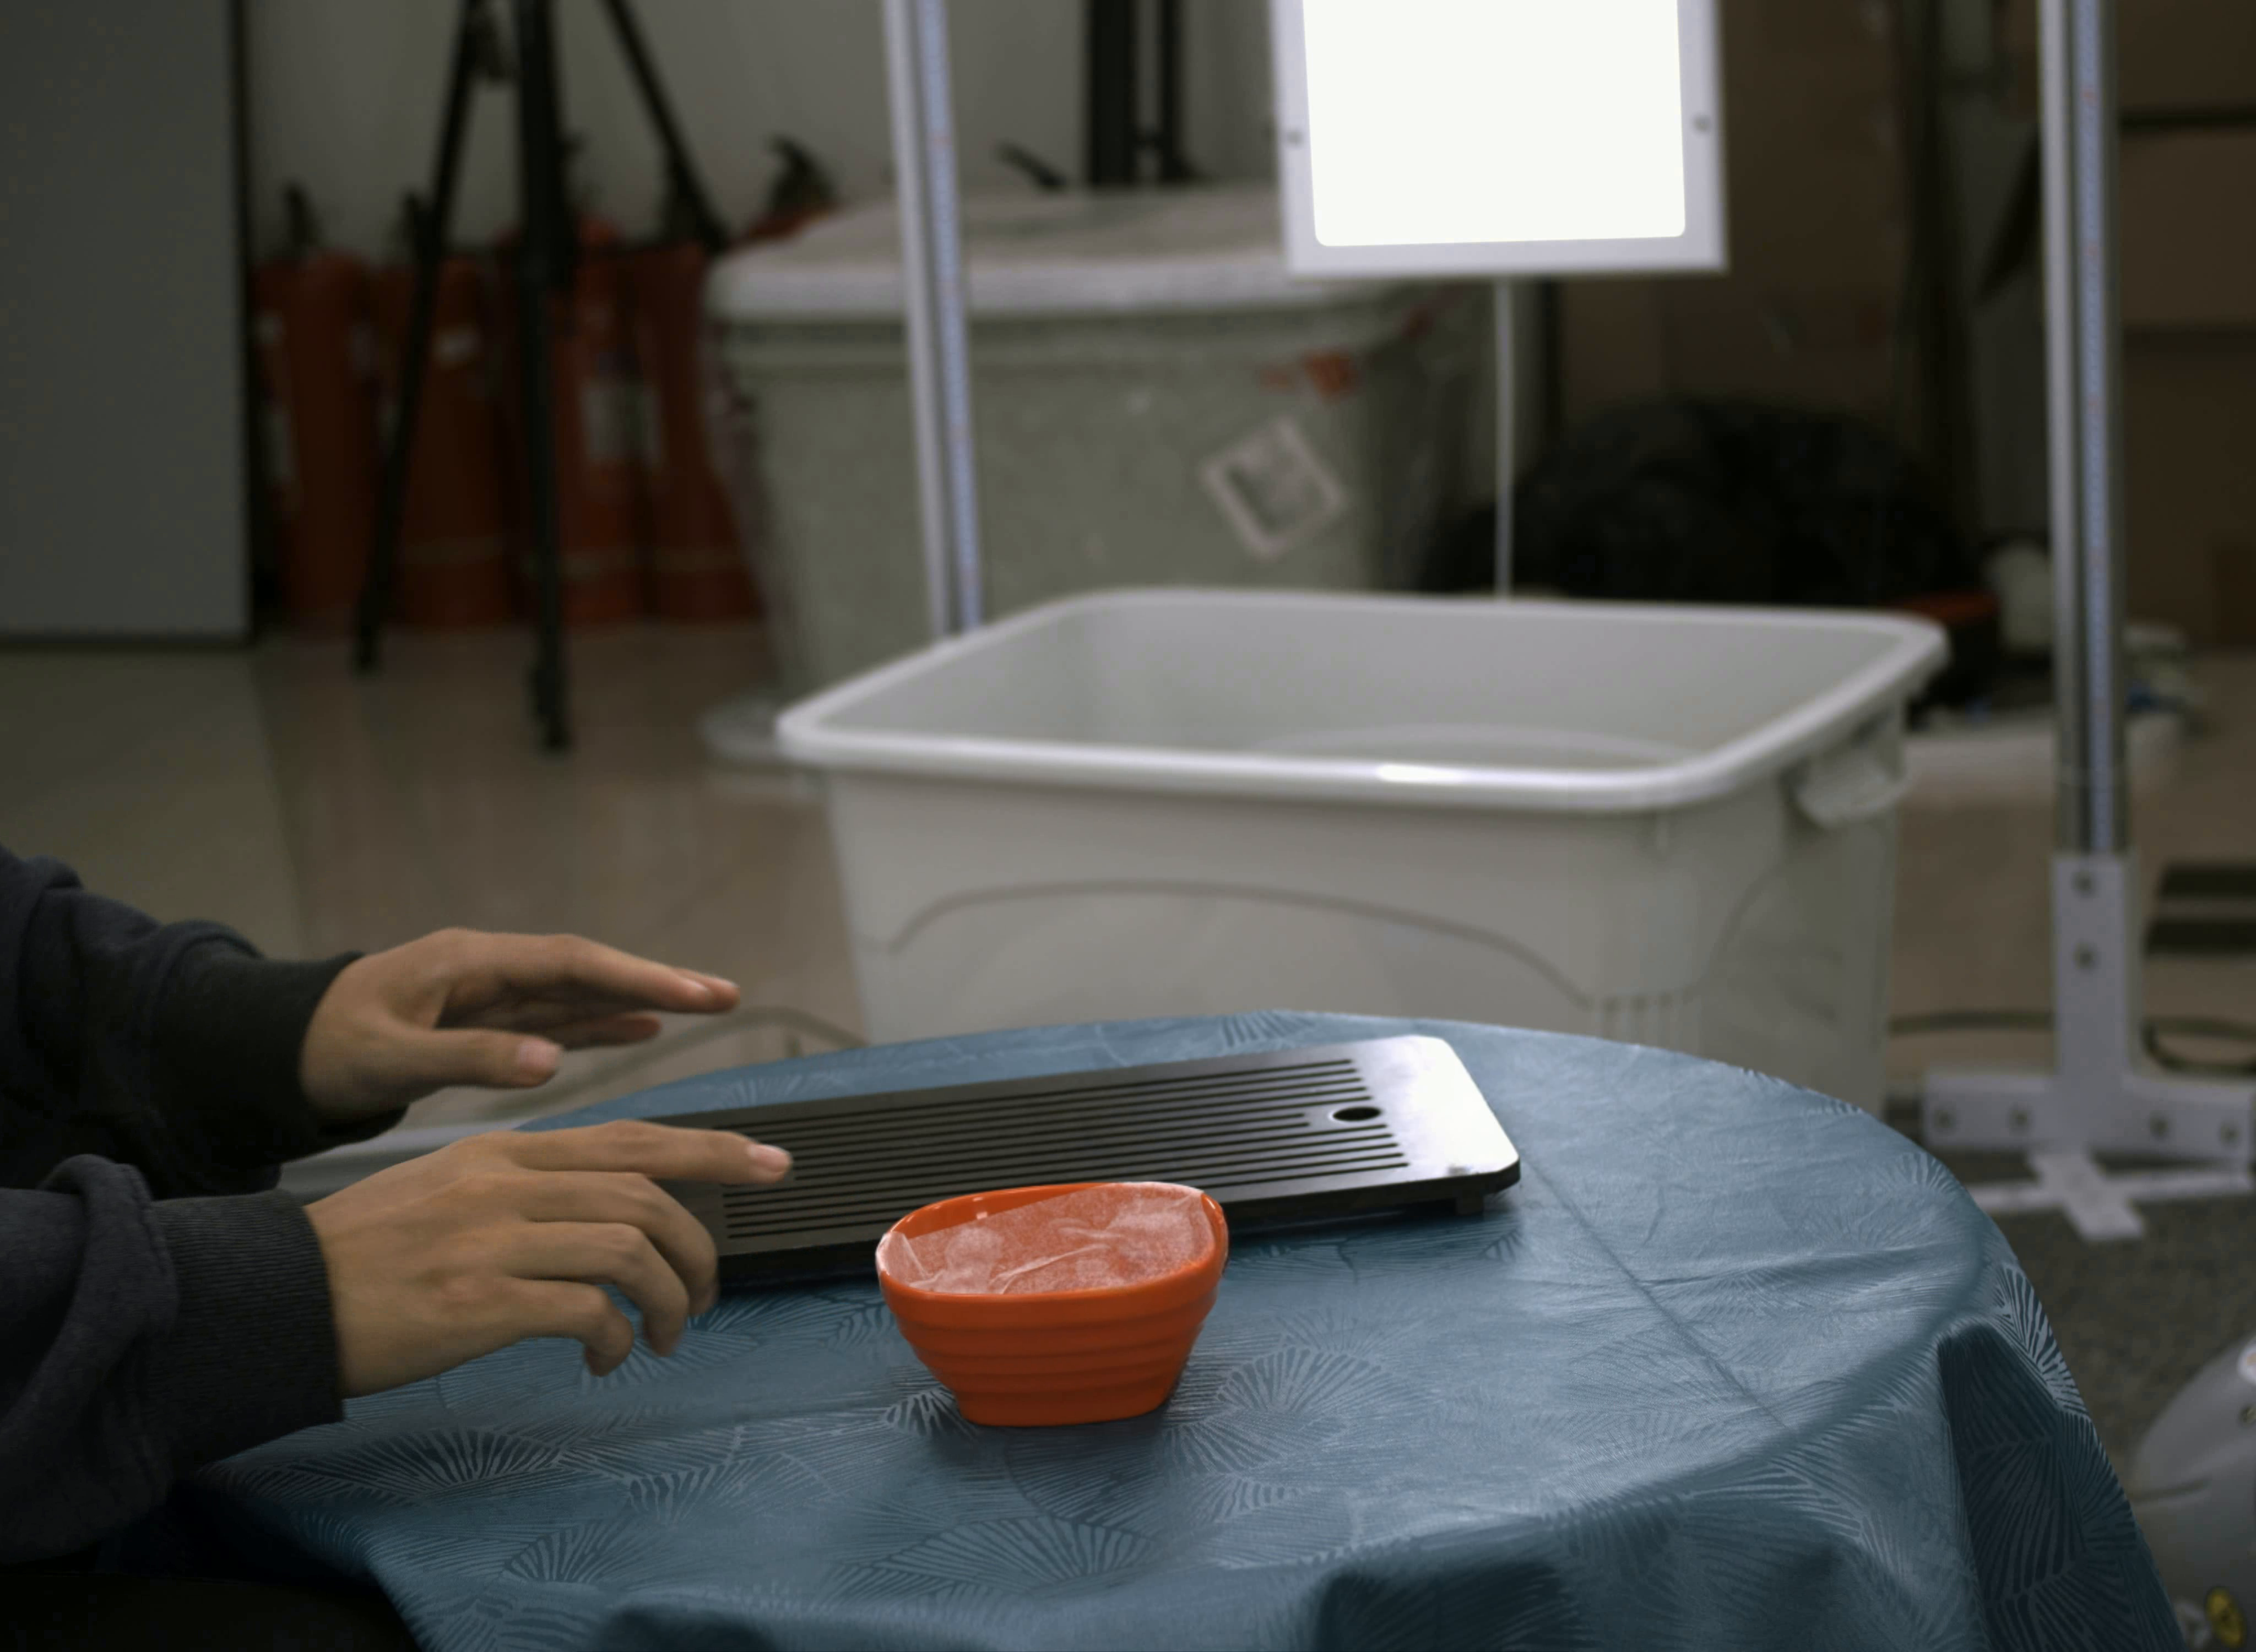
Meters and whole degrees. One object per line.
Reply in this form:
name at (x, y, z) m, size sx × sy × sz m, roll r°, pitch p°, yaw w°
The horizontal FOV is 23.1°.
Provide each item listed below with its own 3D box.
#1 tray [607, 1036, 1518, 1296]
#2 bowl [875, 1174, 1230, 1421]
tray at (-0.027, 0.117, 1.908) m, size 0.304 × 0.019 × 0.170 m, roll -6°, pitch 14°, yaw -3°
bowl at (-0.022, 0.148, 1.701) m, size 0.118 × 0.051 × 0.119 m, roll -4°, pitch 15°, yaw 0°
